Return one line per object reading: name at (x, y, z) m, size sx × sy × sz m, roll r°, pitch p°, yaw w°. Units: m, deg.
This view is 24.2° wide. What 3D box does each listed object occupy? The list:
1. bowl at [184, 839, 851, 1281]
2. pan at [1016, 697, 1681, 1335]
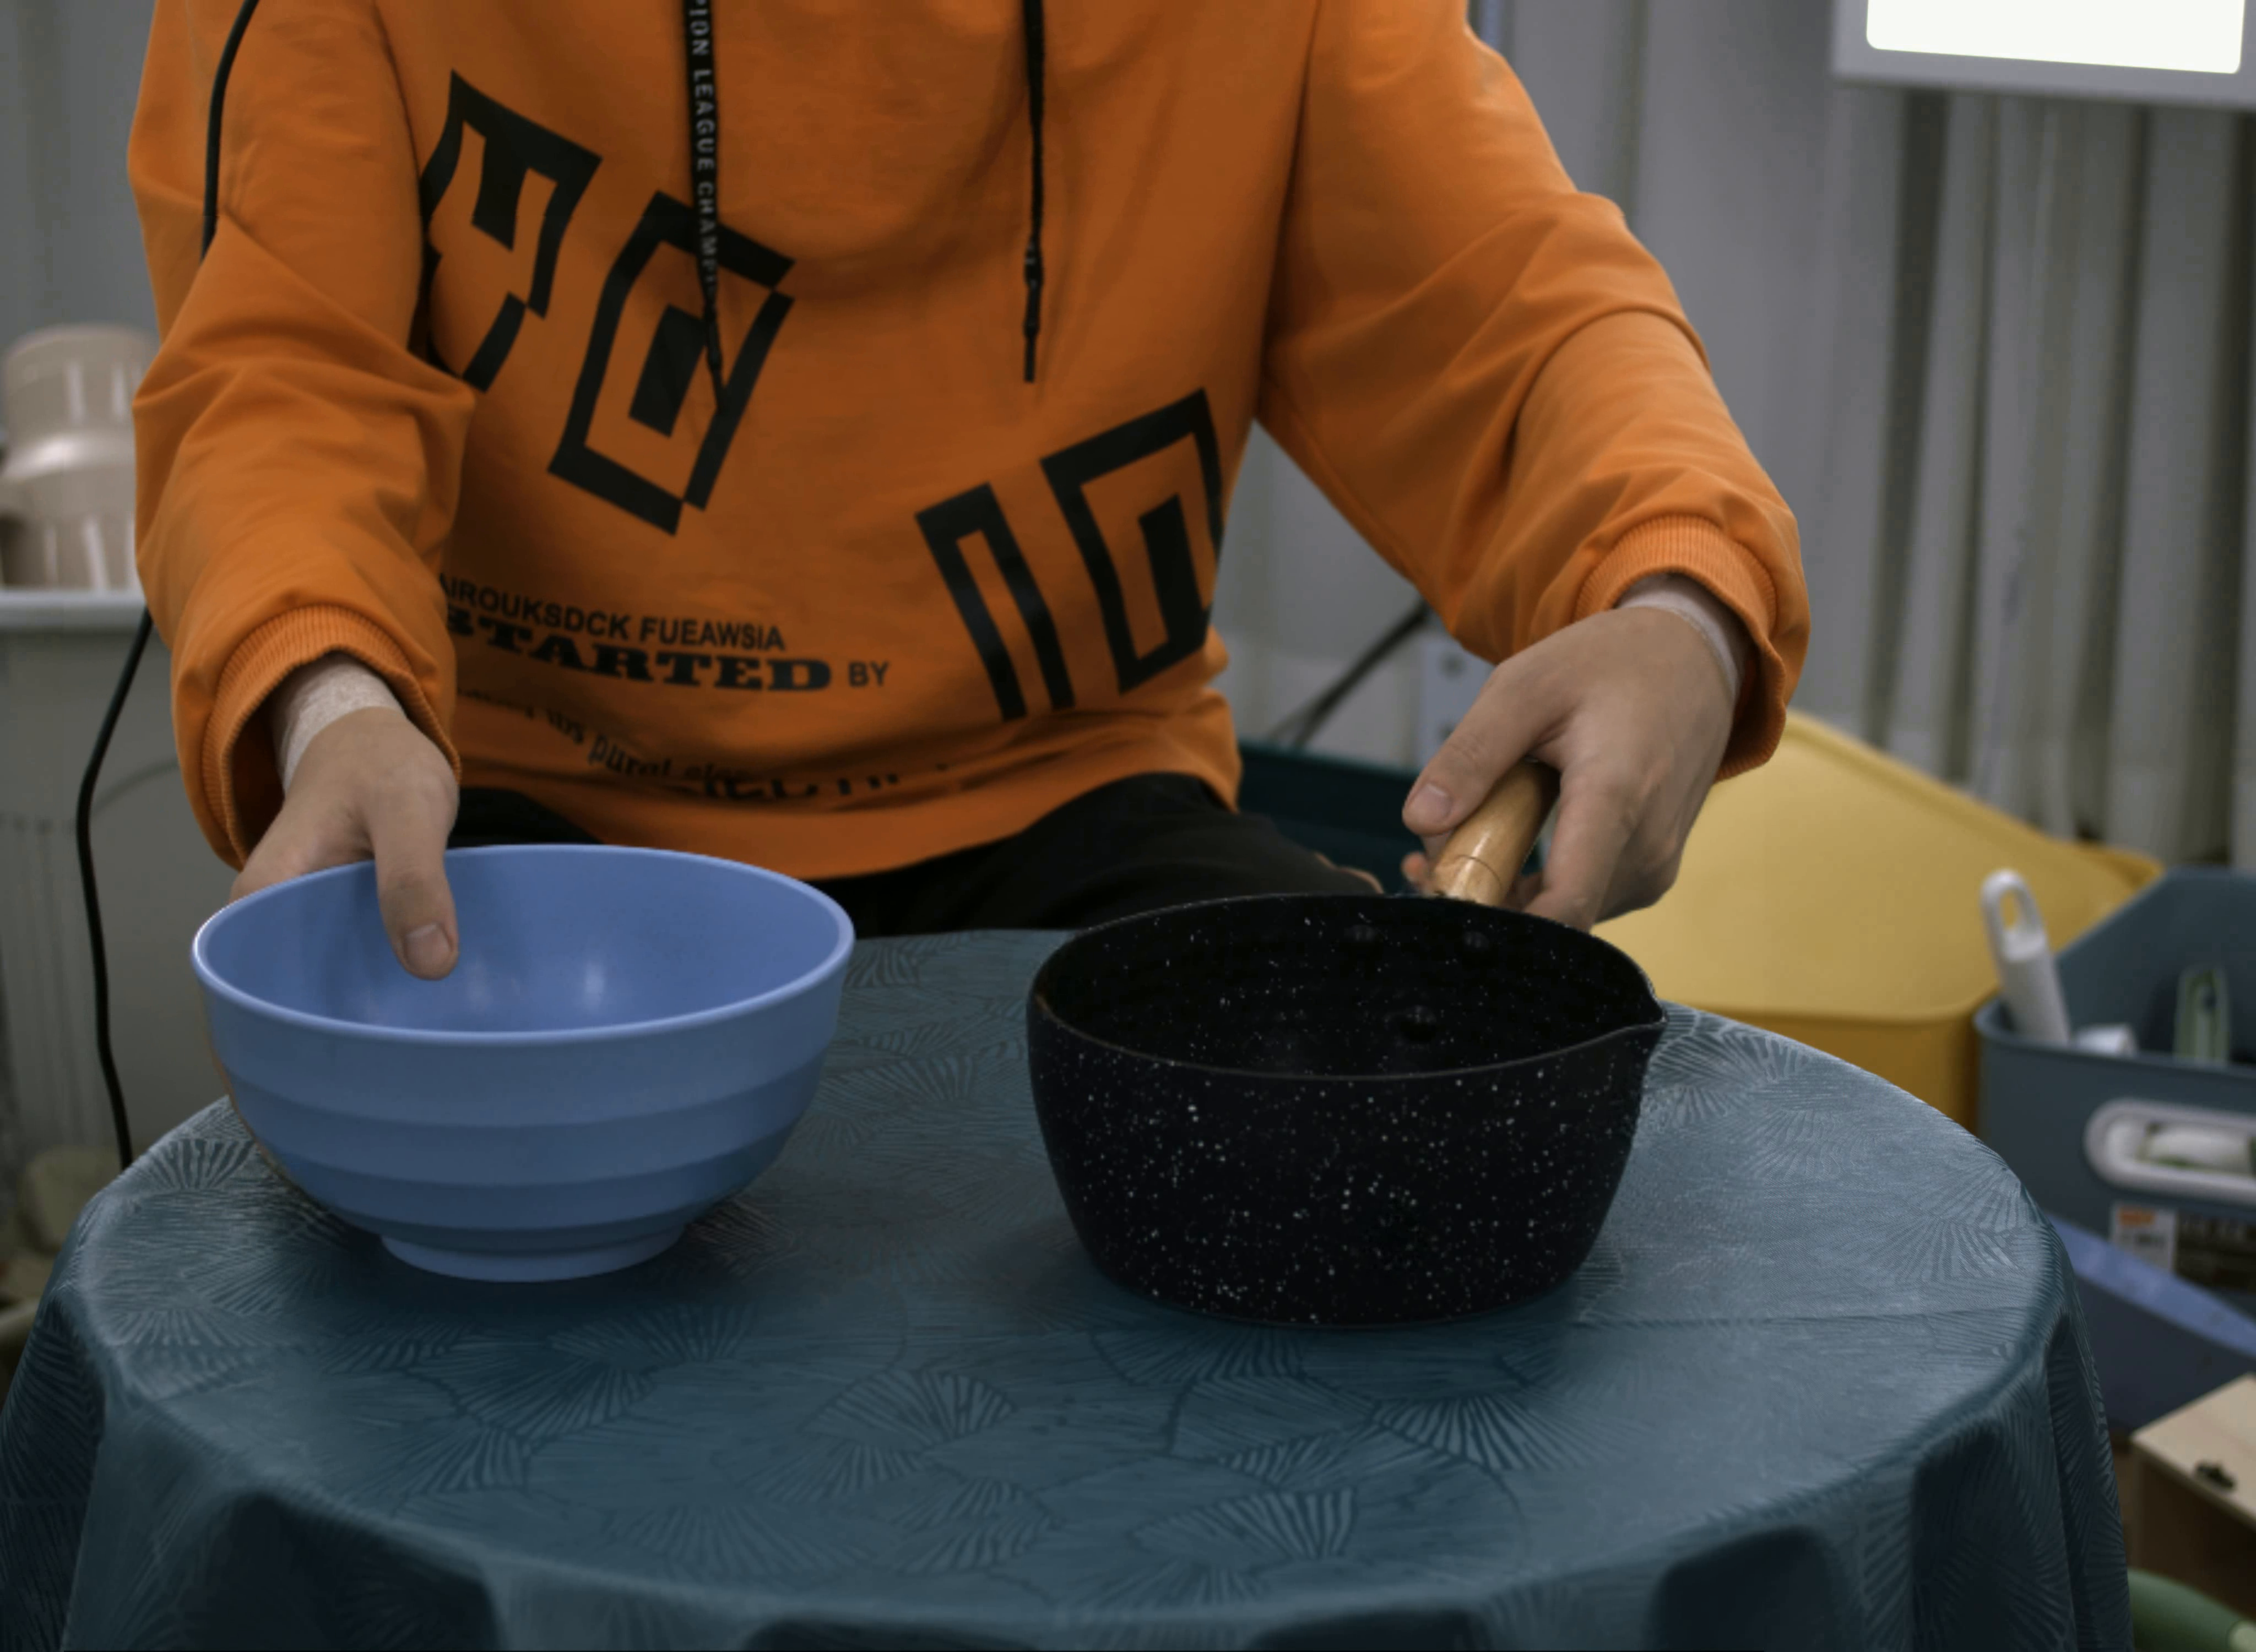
bowl at (-0.179, 0.075, 1.569) m, size 0.196 × 0.096 × 0.195 m, roll 0°, pitch 17°, yaw 1°
pan at (0.086, 0.053, 1.634) m, size 0.205 × 0.109 × 0.343 m, roll 4°, pitch 17°, yaw 17°
